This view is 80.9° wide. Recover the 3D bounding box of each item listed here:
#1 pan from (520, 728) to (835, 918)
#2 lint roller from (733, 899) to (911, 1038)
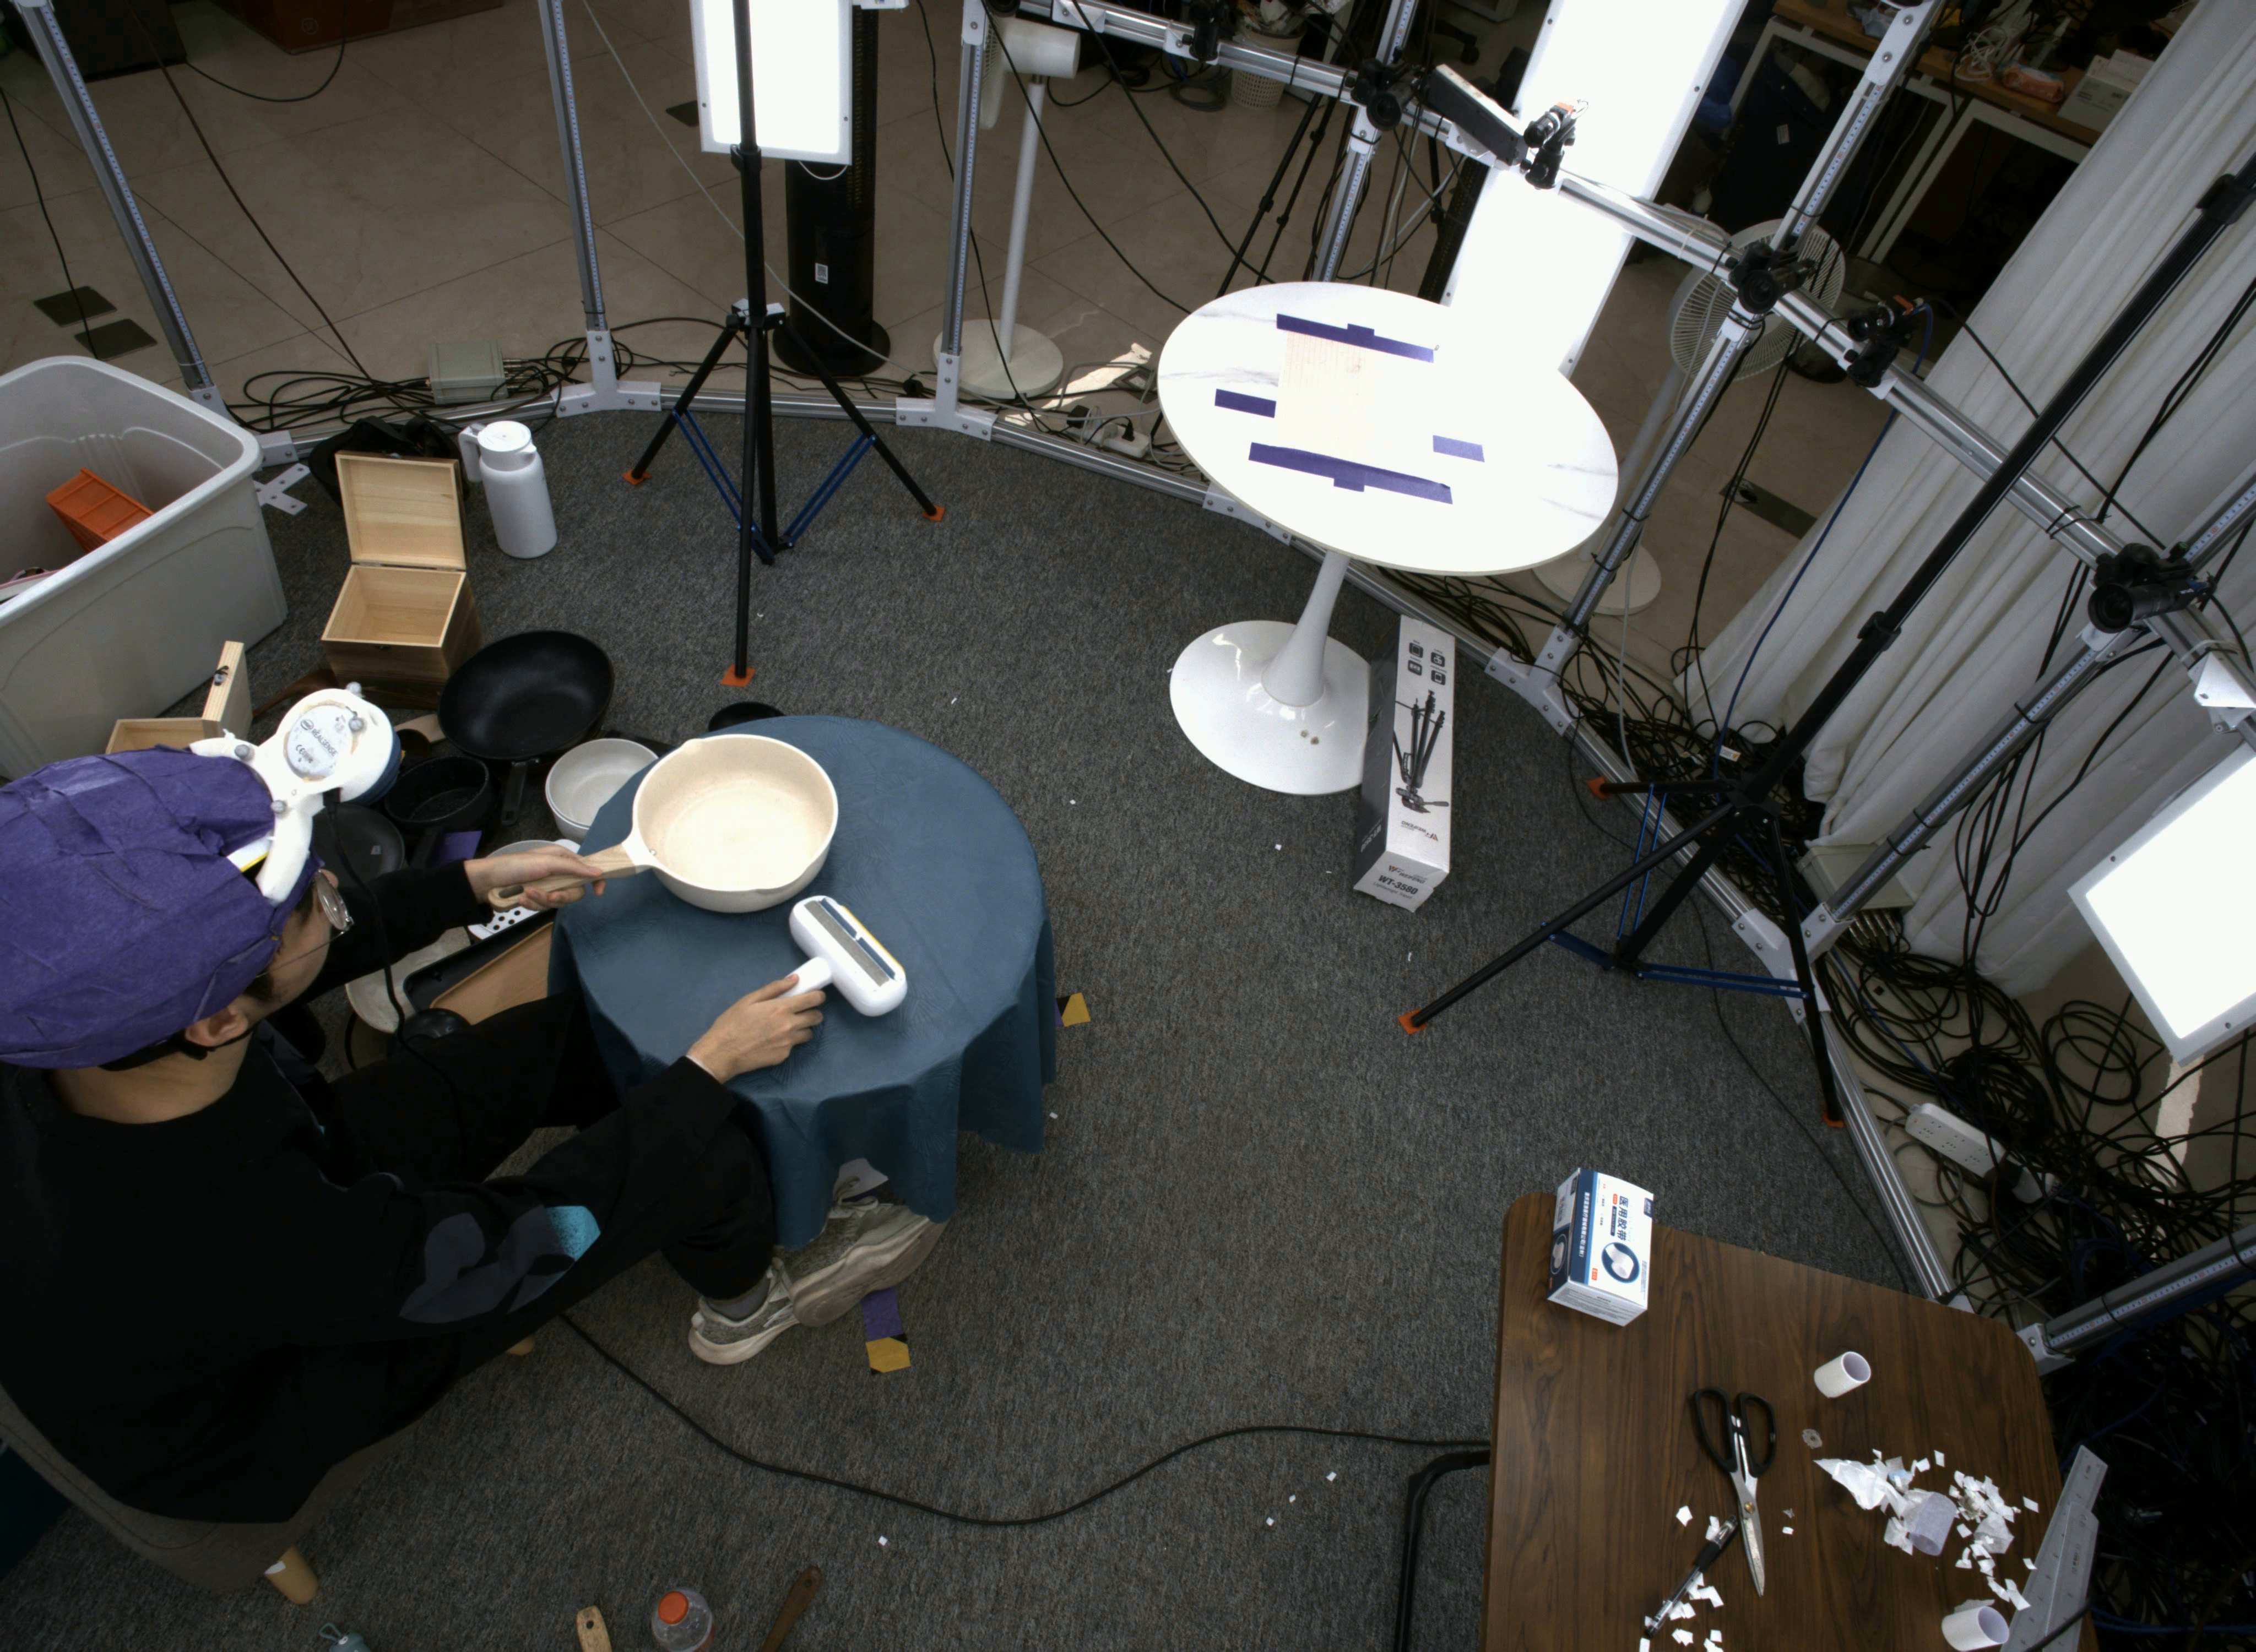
[{"bbox_3d":[-0.573,0.029,1.604,0.437,0.103,0.258,-27,68,-30],"label":"pan"},{"bbox_3d":[-0.383,0.186,1.555,0.193,0.076,0.187,-25,58,-32],"label":"lint roller"}]
